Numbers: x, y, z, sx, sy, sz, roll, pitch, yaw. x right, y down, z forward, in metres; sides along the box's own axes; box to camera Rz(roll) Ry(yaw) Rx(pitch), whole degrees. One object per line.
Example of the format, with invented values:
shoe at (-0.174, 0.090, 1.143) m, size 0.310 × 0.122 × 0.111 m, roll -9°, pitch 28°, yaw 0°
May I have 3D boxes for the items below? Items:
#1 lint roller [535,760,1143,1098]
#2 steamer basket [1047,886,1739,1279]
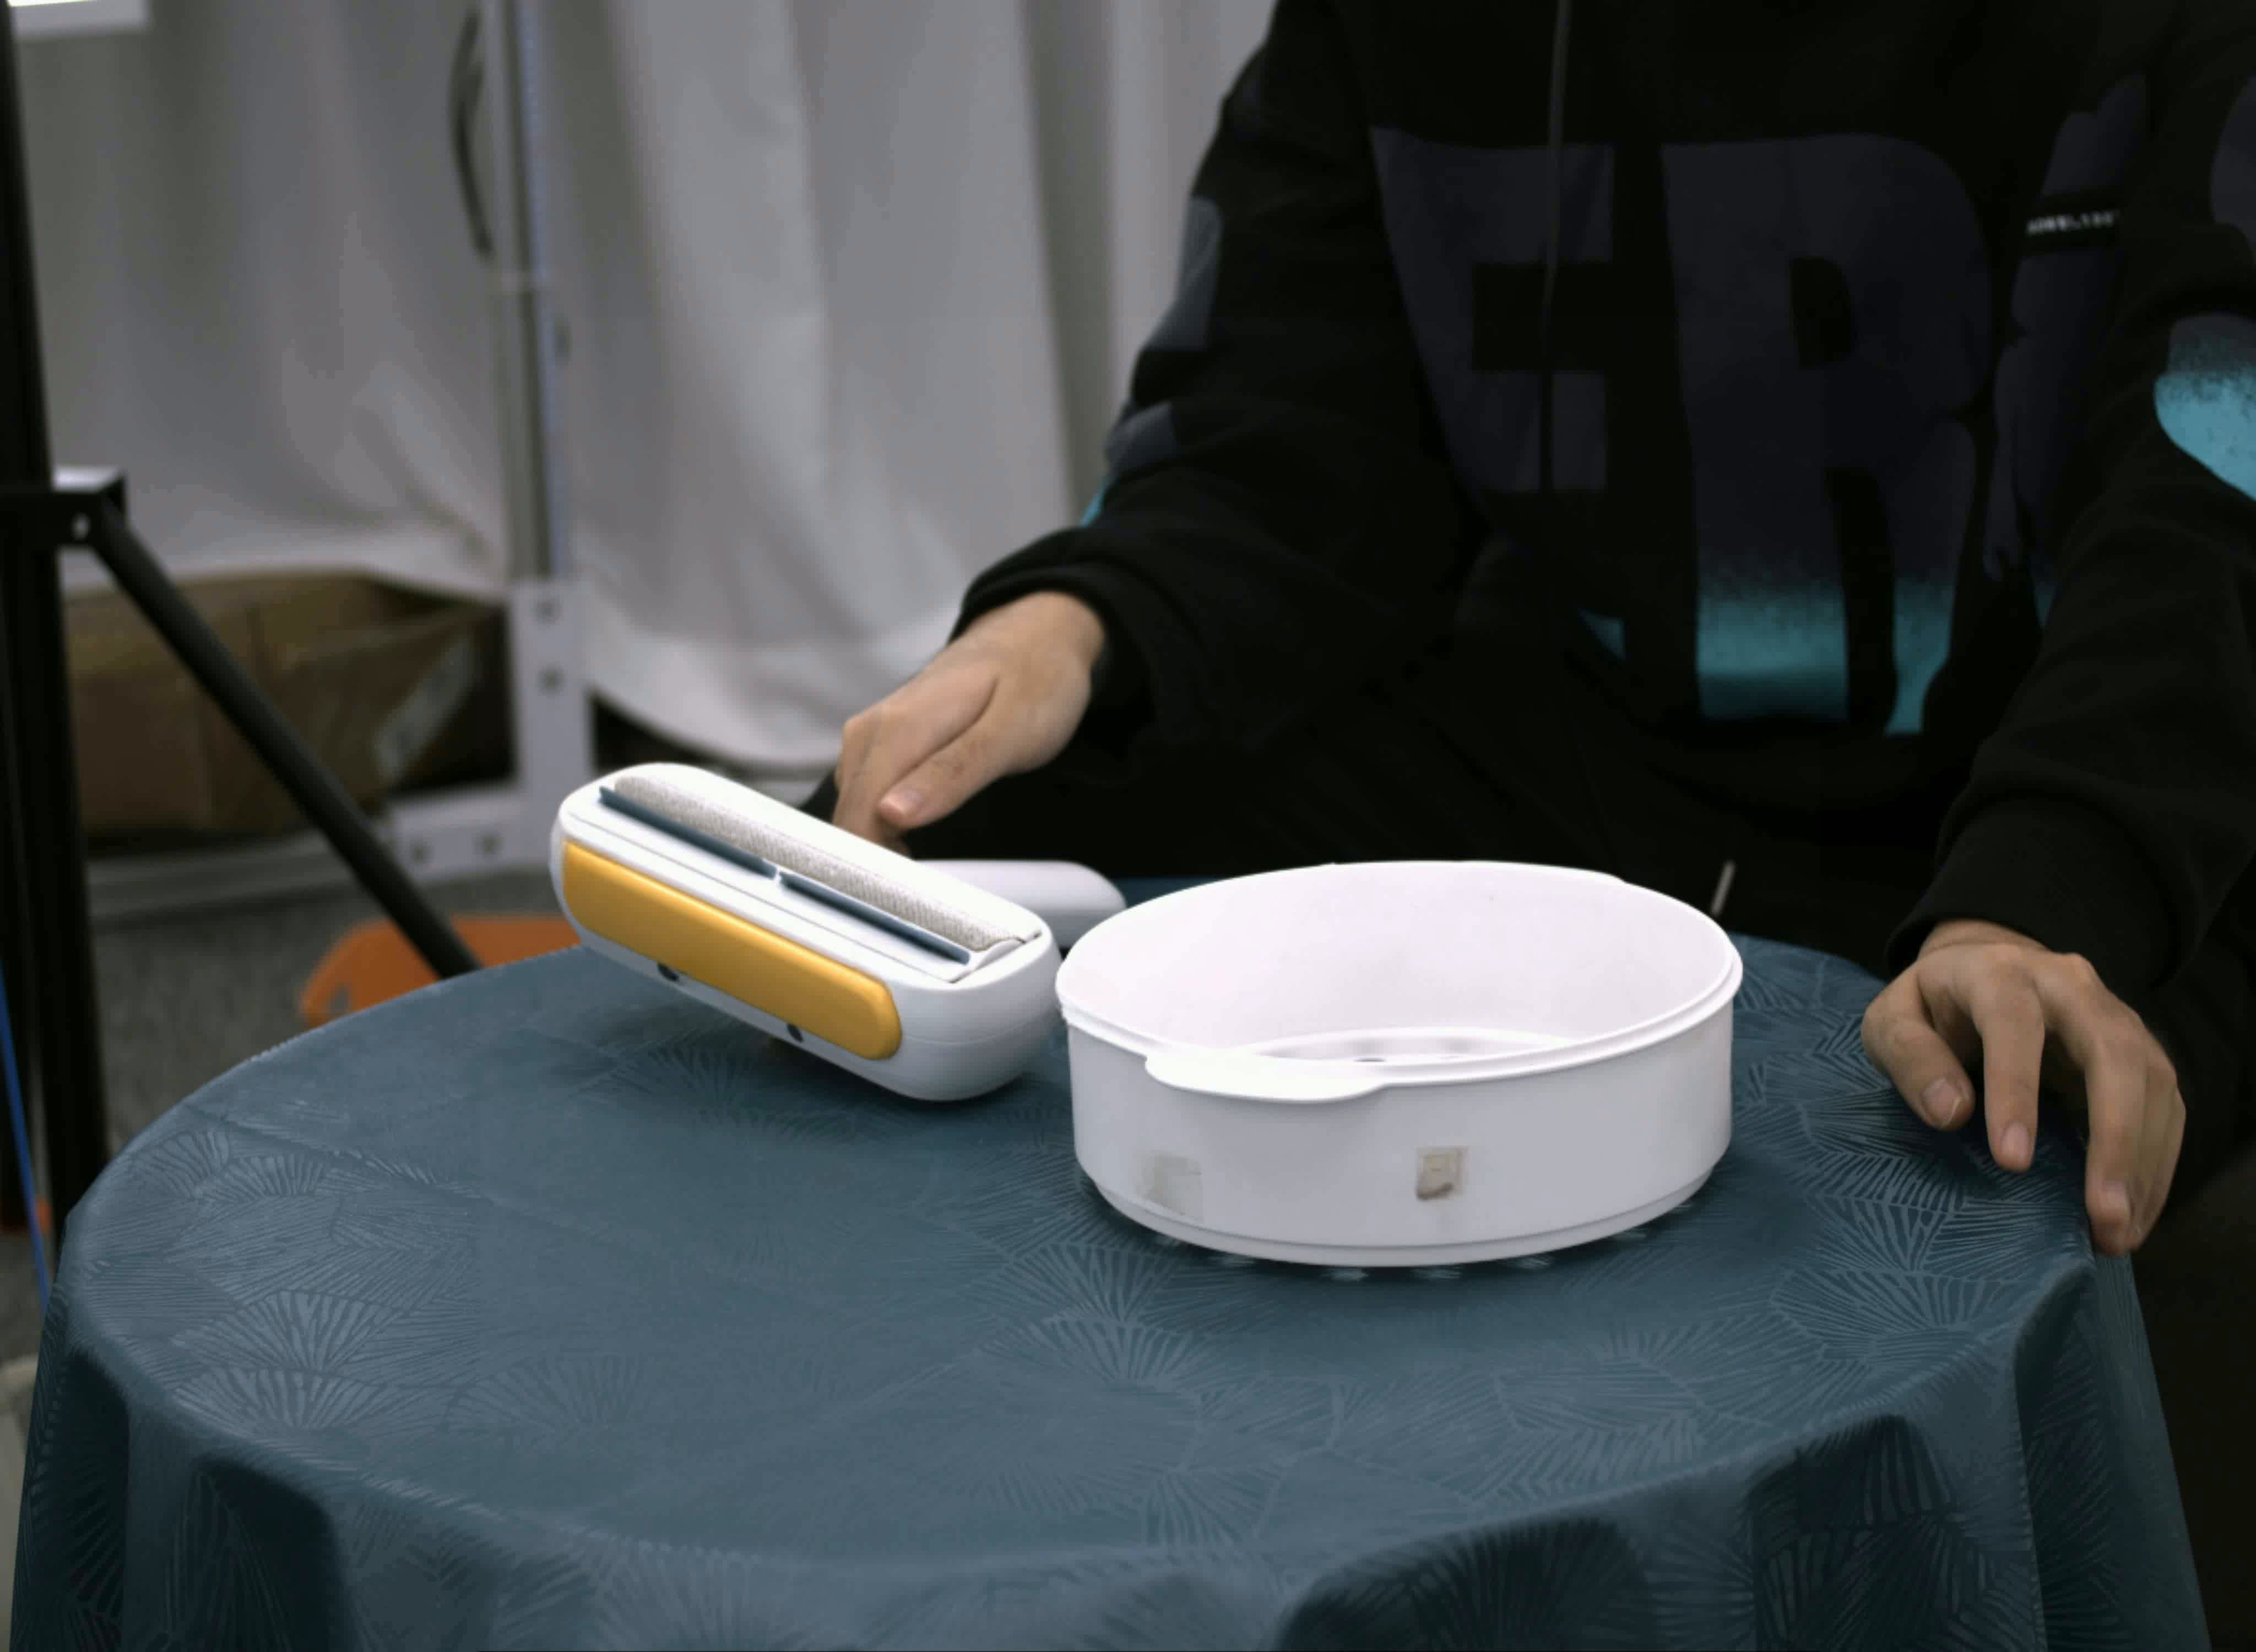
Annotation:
lint roller at (-0.069, 0.026, 1.735) m, size 0.188 × 0.074 × 0.197 m, roll -15°, pitch 25°, yaw -43°
steamer basket at (0.077, 0.075, 1.549) m, size 0.205 × 0.069 × 0.226 m, roll 7°, pitch 16°, yaw 26°
